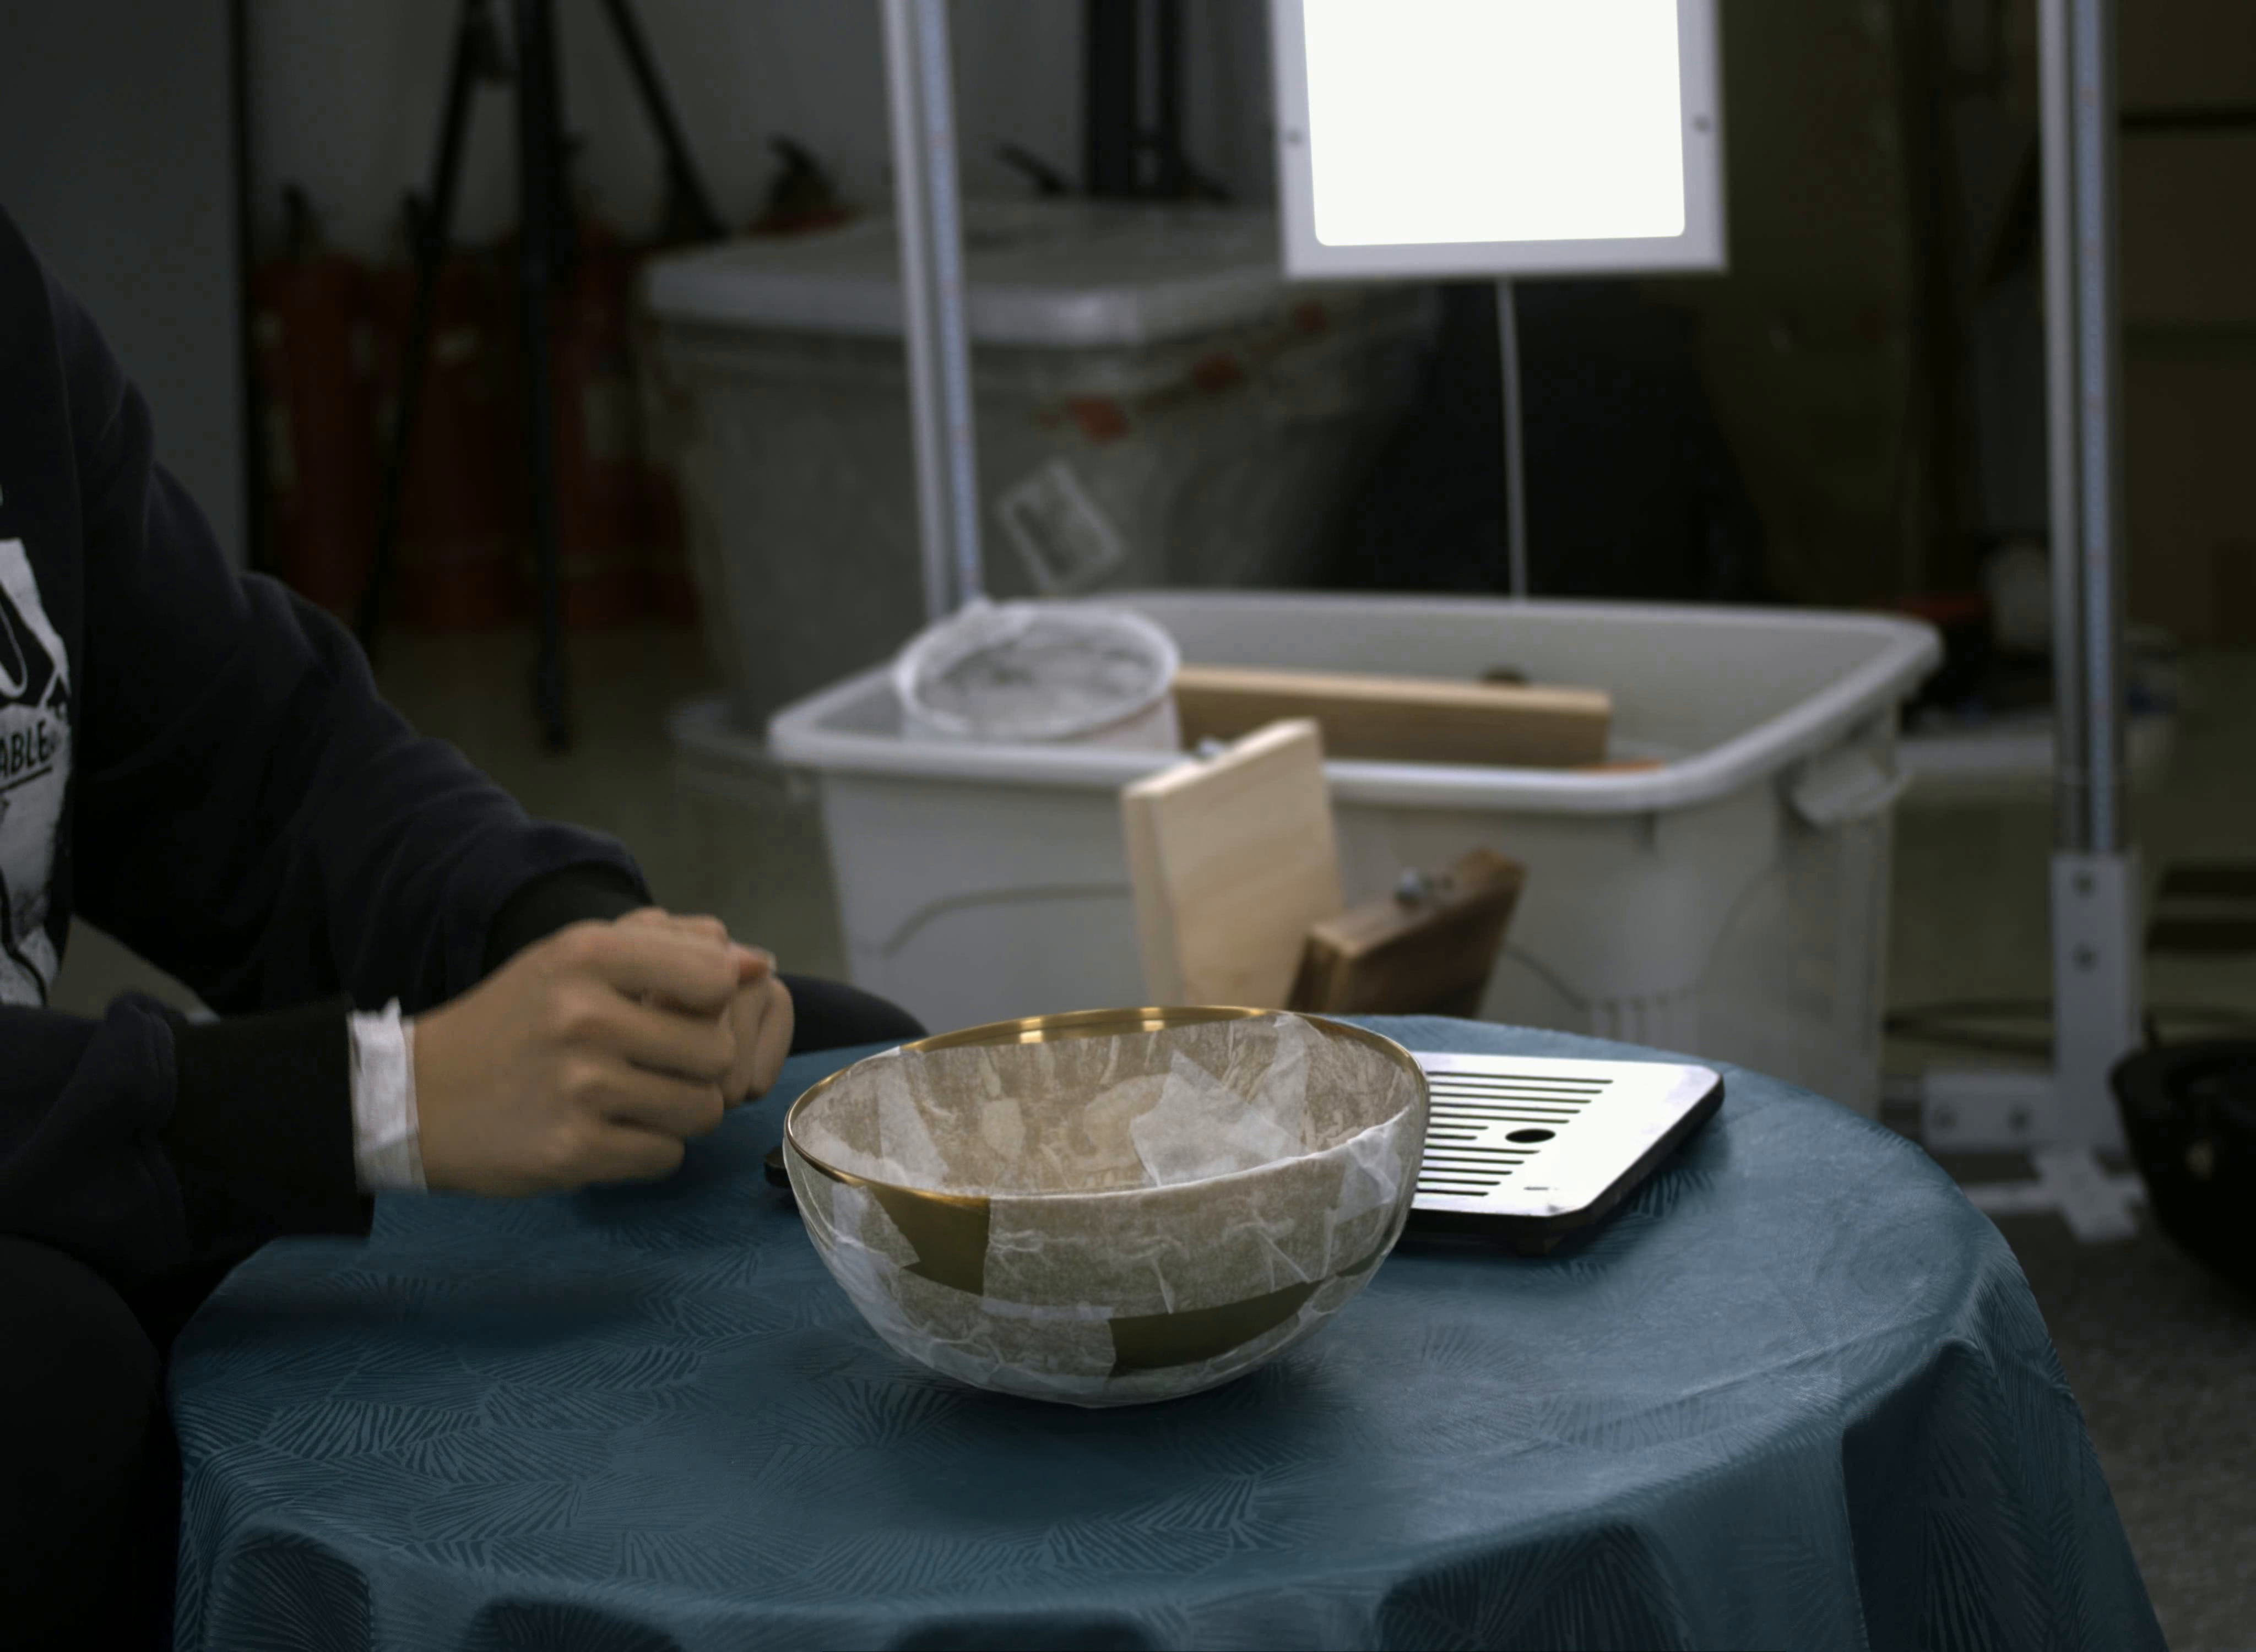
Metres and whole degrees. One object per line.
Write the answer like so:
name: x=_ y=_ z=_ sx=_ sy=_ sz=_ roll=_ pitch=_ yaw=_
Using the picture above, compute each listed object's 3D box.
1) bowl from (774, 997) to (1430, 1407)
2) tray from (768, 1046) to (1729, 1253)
bowl: x=-0.004 y=0.124 z=1.714 sx=0.214 sy=0.095 sz=0.214 roll=-6 pitch=14 yaw=0
tray: x=0.043 y=0.108 z=1.919 sx=0.311 sy=0.019 sz=0.166 roll=2 pitch=15 yaw=26
